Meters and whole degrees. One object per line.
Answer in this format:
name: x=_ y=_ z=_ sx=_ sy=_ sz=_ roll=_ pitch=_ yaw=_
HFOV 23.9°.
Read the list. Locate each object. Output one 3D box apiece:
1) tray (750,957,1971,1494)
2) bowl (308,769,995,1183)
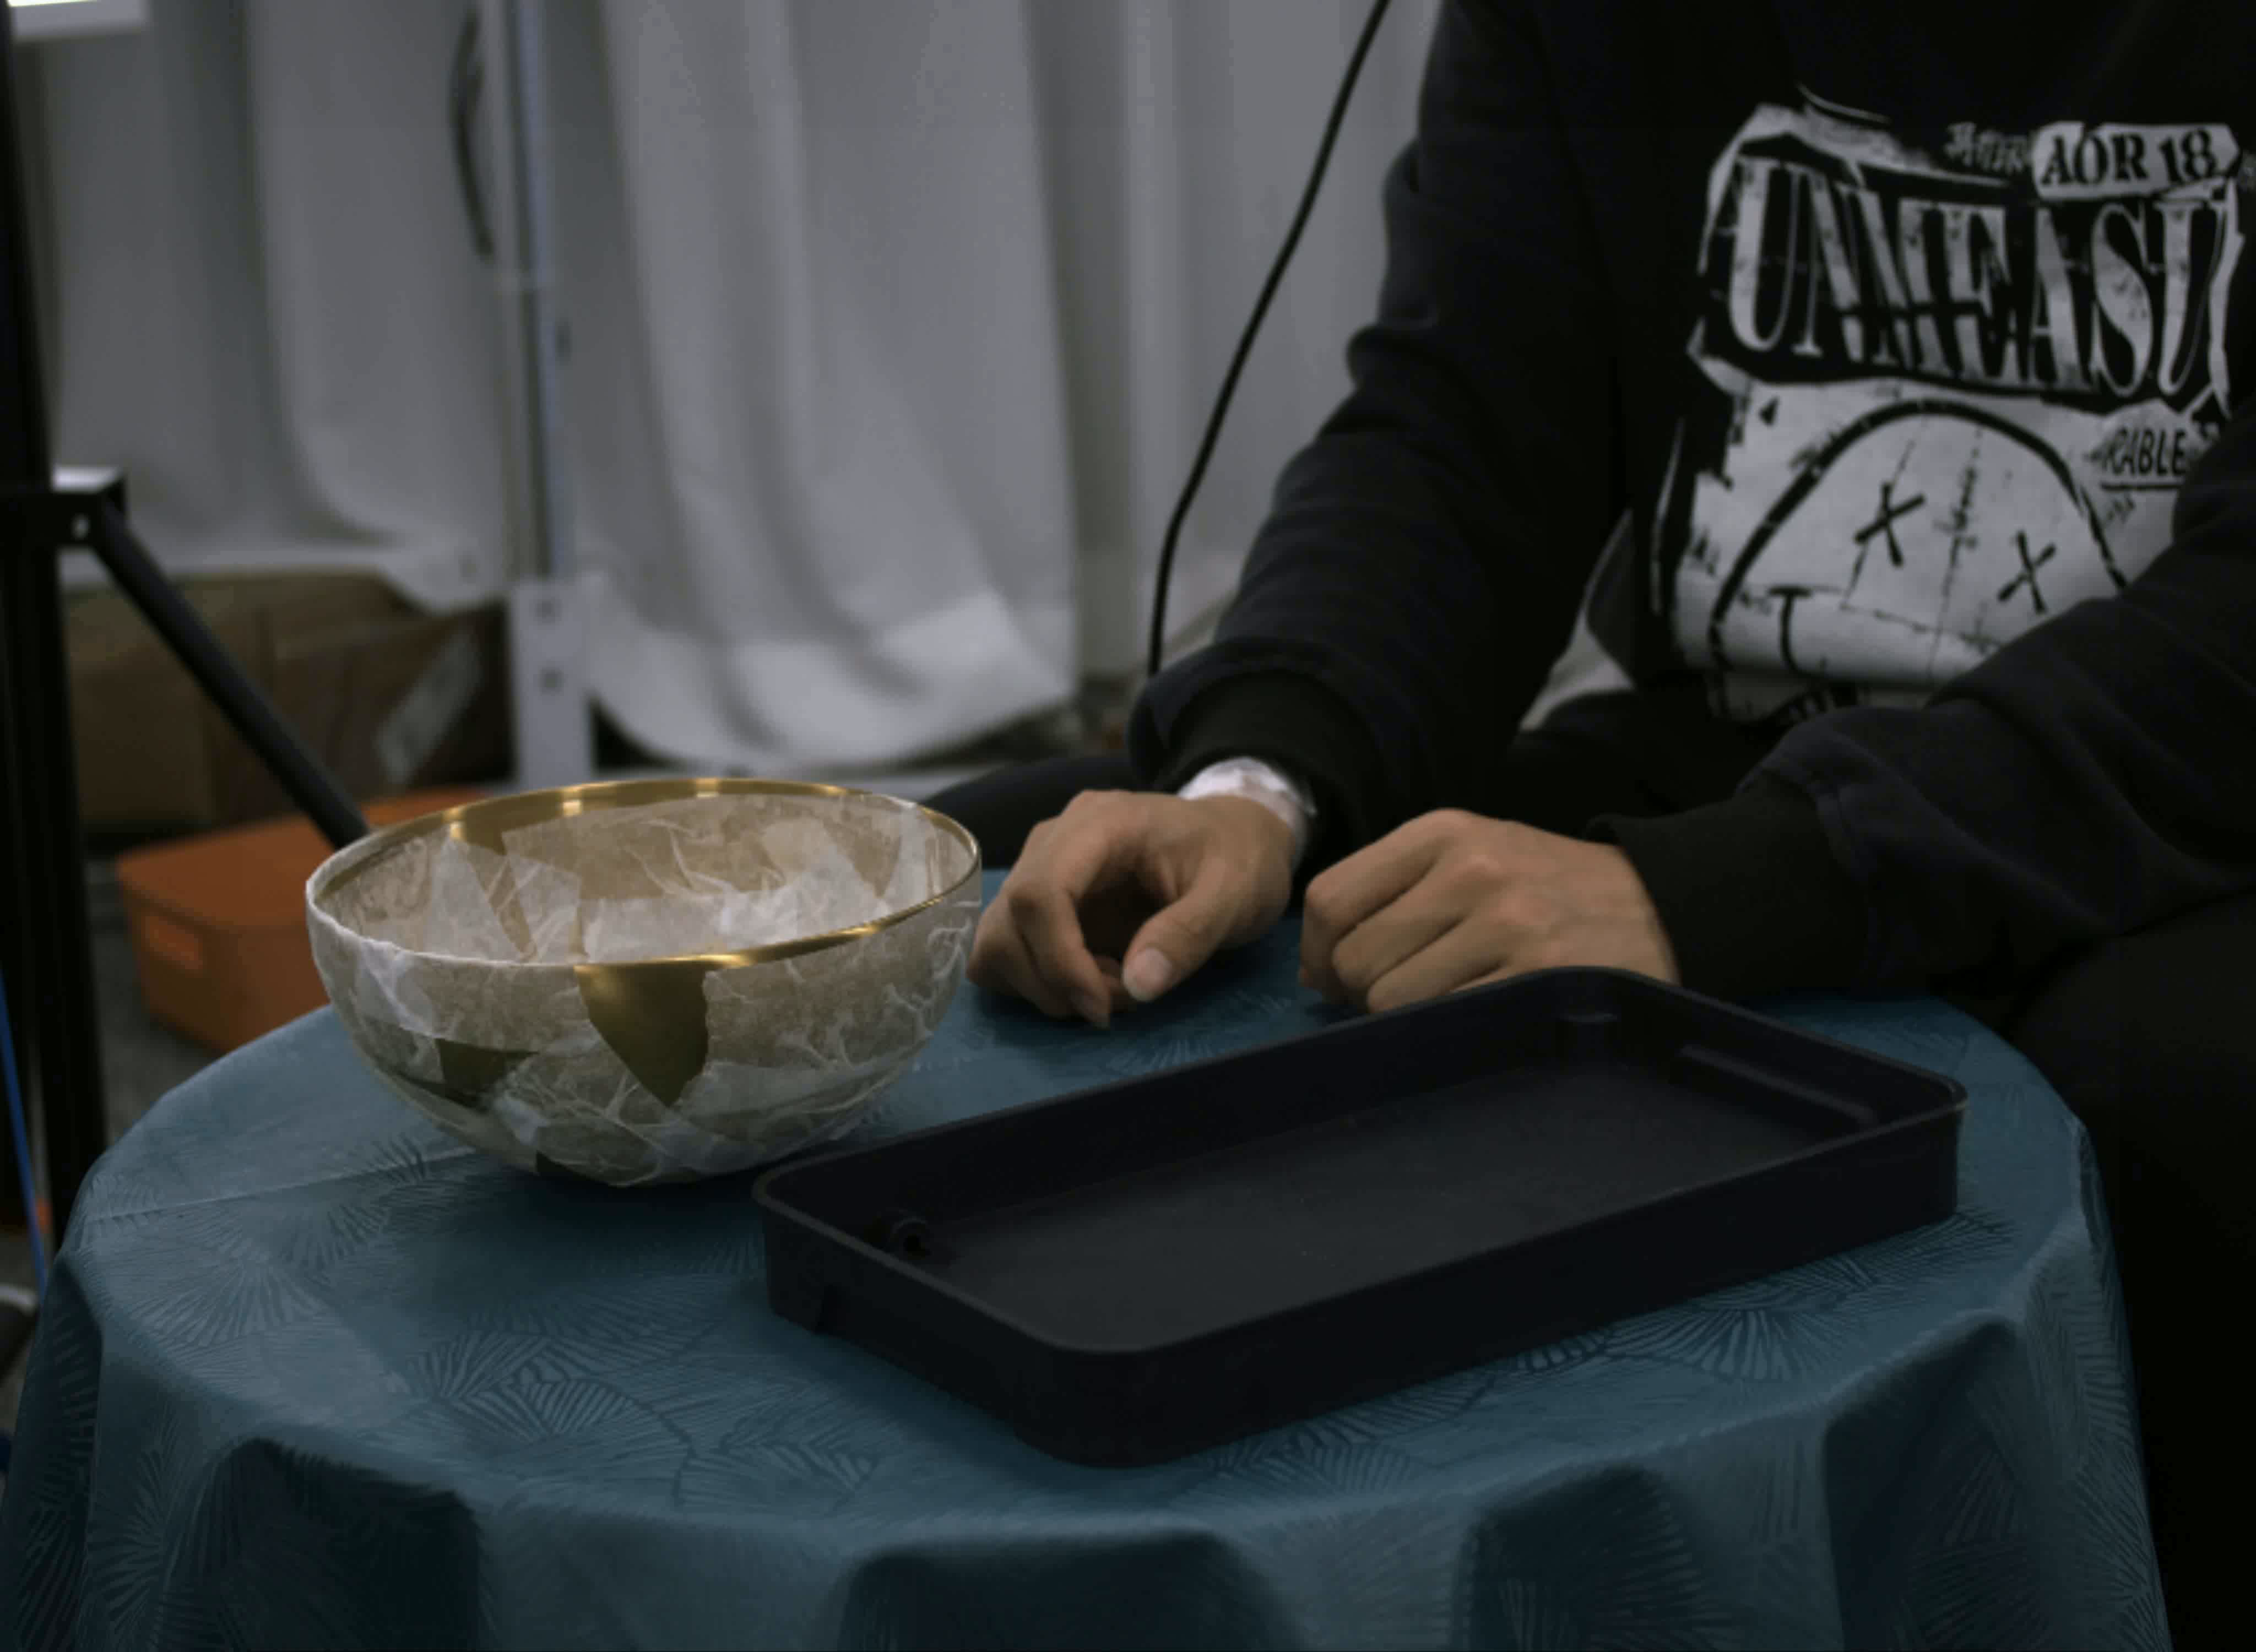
tray: x=0.068 y=0.106 z=1.496 sx=0.311 sy=0.037 sz=0.188 roll=-14 pitch=20 yaw=-30
bowl: x=-0.138 y=0.053 z=1.603 sx=0.213 sy=0.094 sz=0.216 roll=-3 pitch=15 yaw=-1
